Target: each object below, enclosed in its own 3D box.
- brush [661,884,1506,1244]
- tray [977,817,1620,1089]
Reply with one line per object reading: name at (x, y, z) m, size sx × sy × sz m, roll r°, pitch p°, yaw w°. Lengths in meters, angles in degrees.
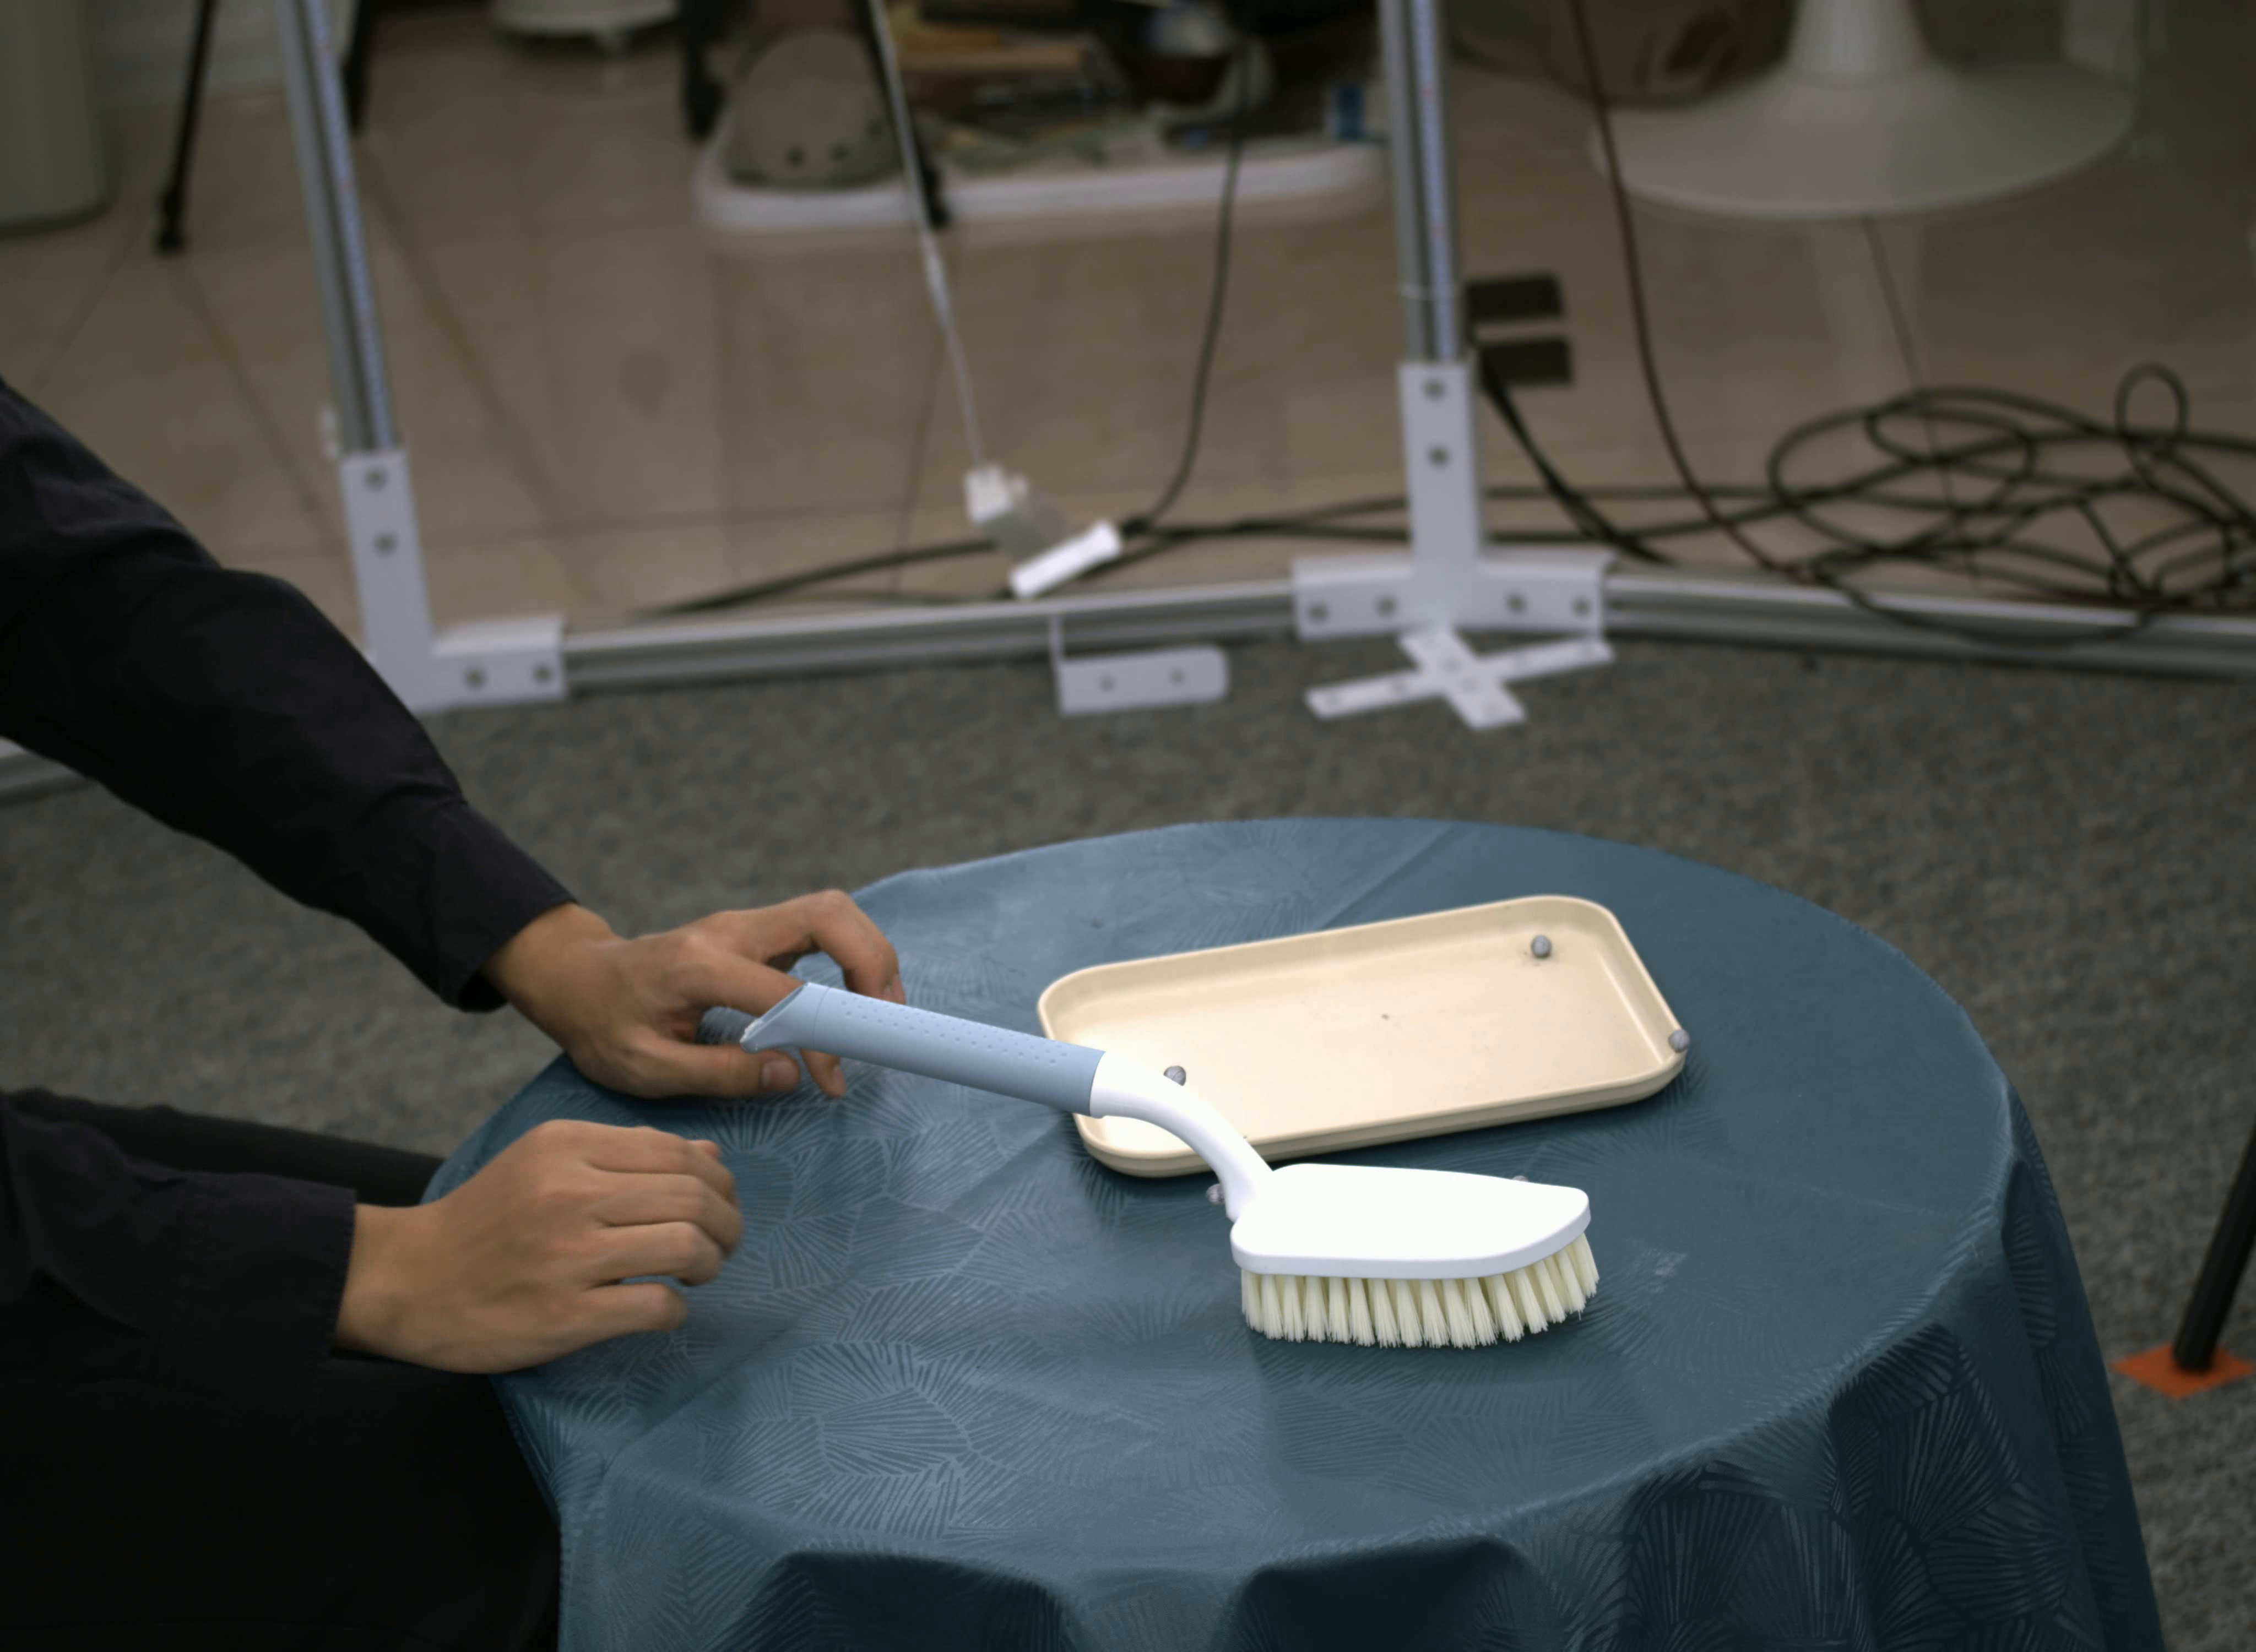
brush at (-0.020, 0.098, 2.087) m, size 0.324 × 0.084 × 0.083 m, roll 13°, pitch -7°, yaw 12°
tray at (0.066, 0.051, 2.247) m, size 0.239 × 0.018 × 0.169 m, roll -9°, pitch 25°, yaw -6°
